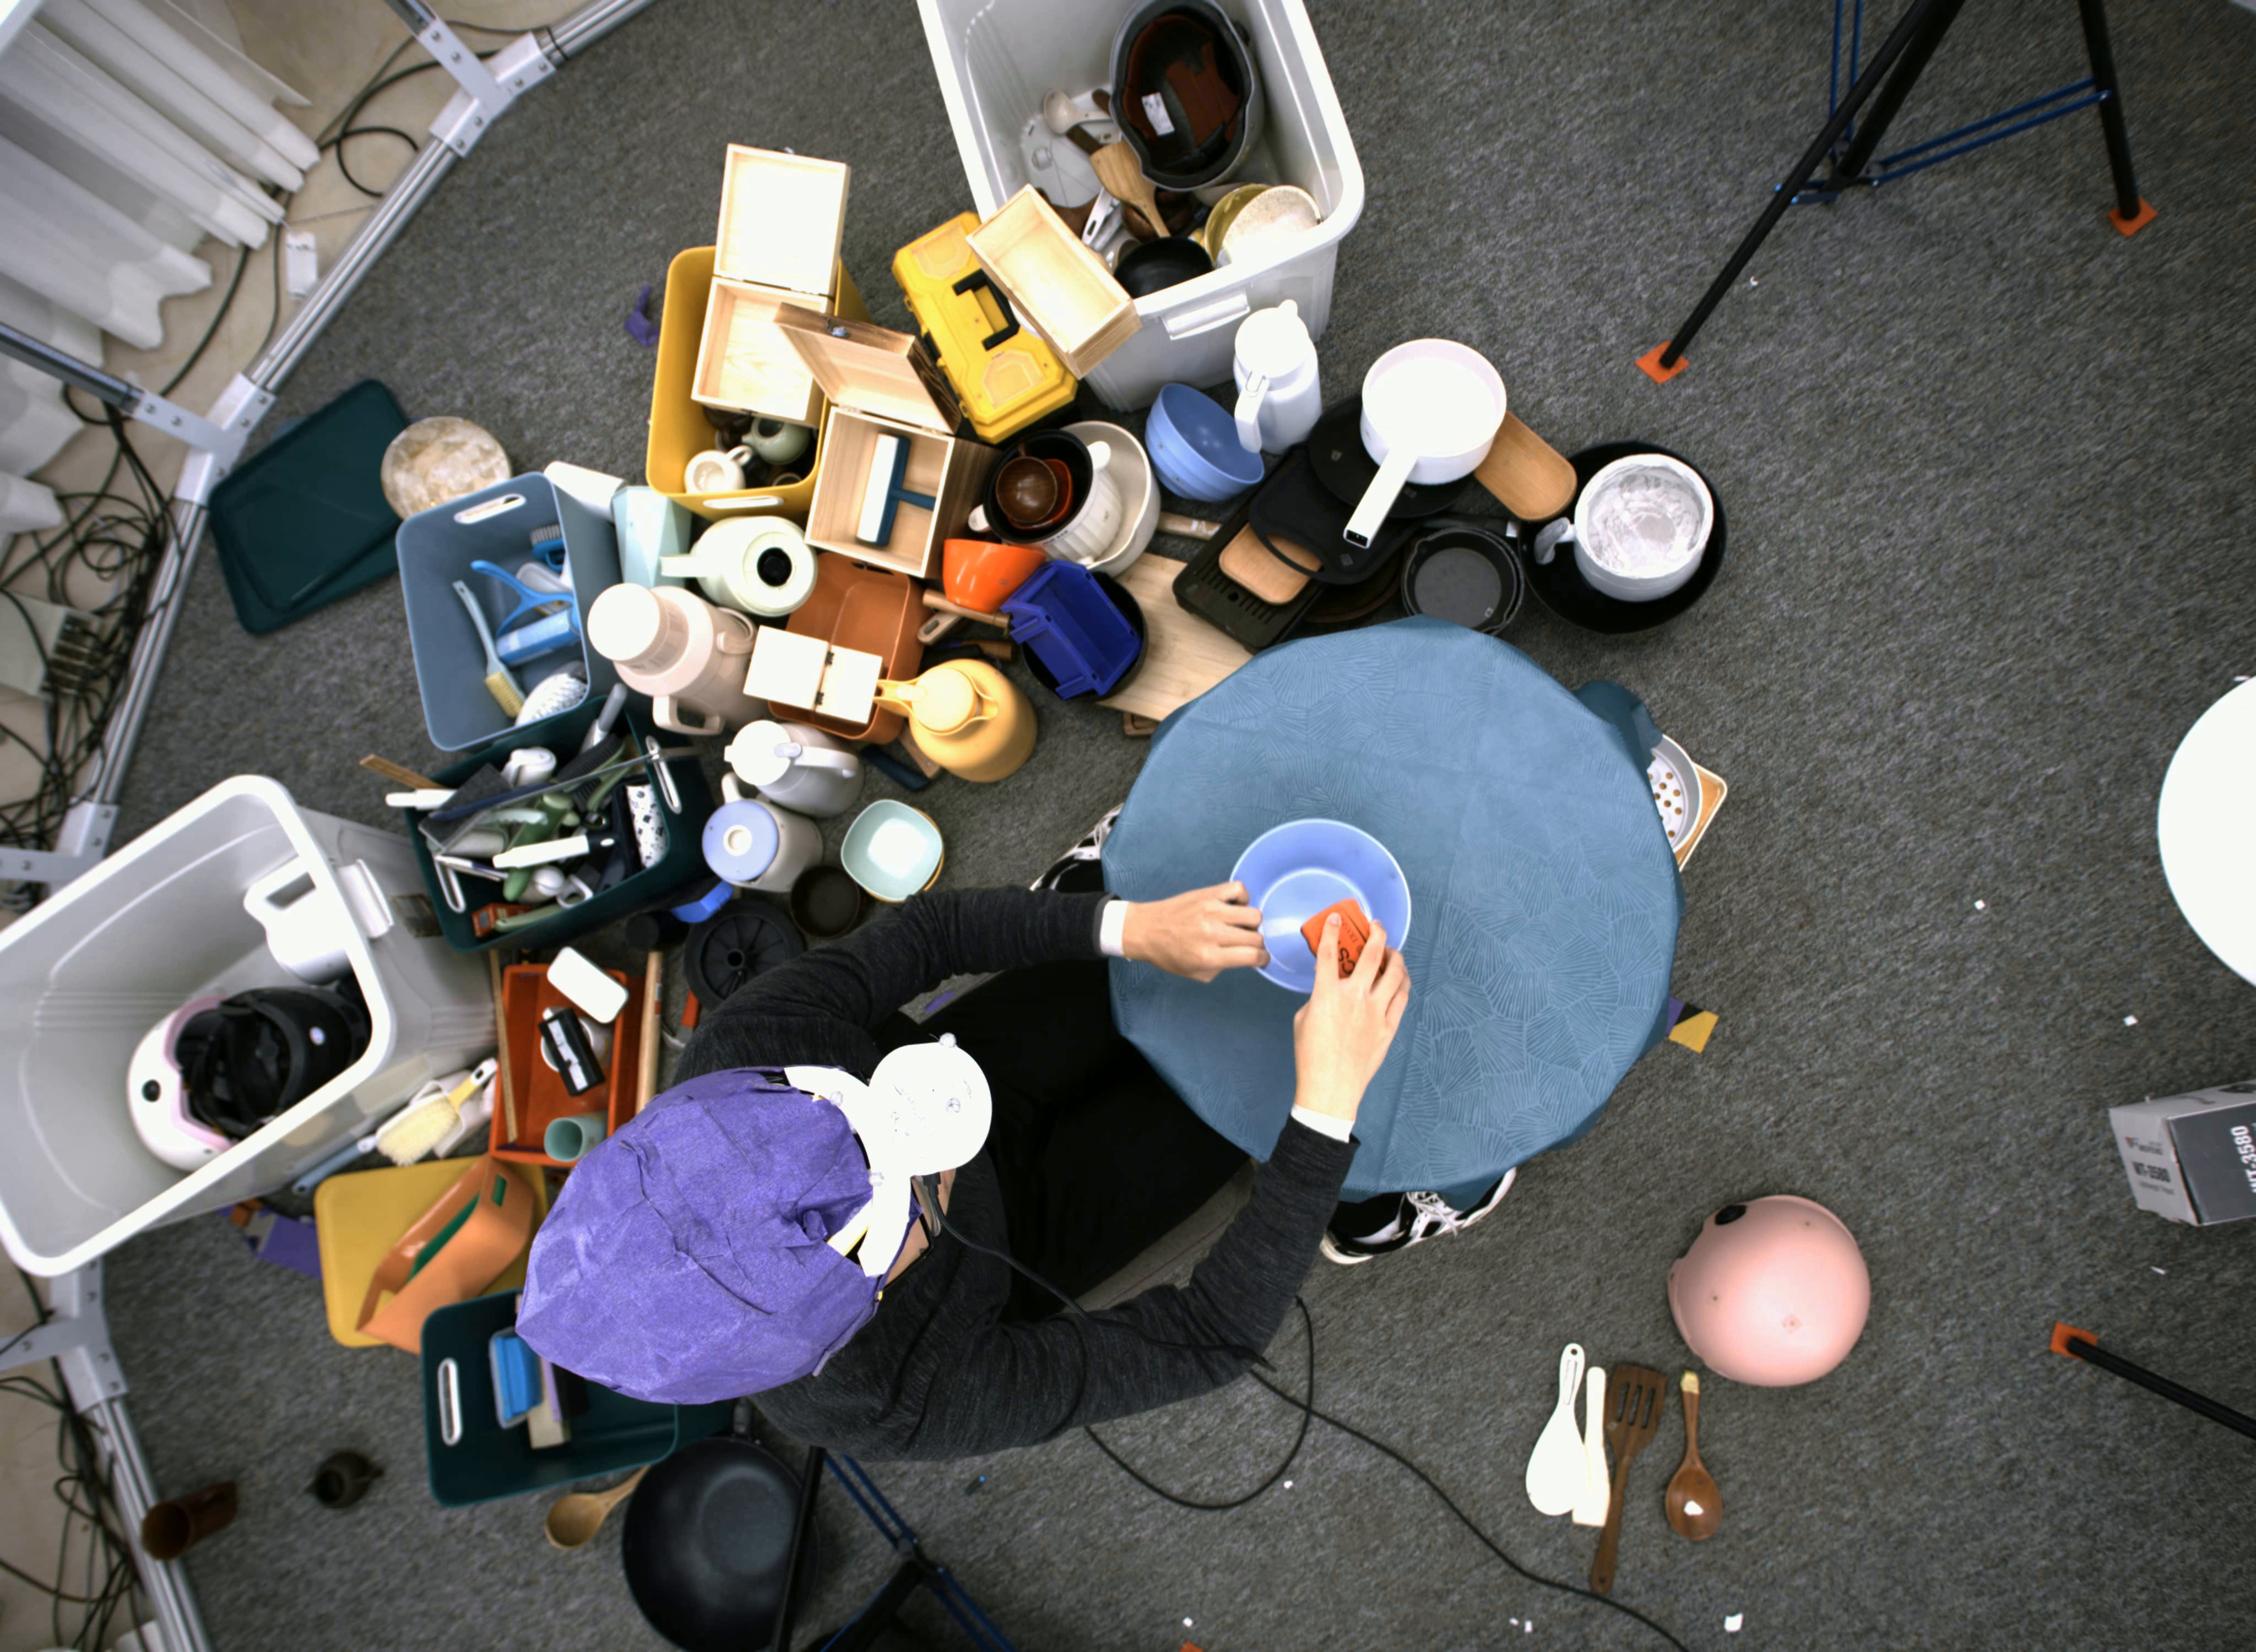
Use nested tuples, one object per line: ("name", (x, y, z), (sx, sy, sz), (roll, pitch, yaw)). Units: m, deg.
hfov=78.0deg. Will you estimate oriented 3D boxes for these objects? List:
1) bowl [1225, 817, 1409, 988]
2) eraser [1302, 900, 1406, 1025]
("bowl", (0.181, 0.082, 1.351), (0.176, 0.071, 0.173), (-1, 69, 3))
("eraser", (0.210, 0.125, 1.284), (0.059, 0.023, 0.108), (-28, 90, -8))
